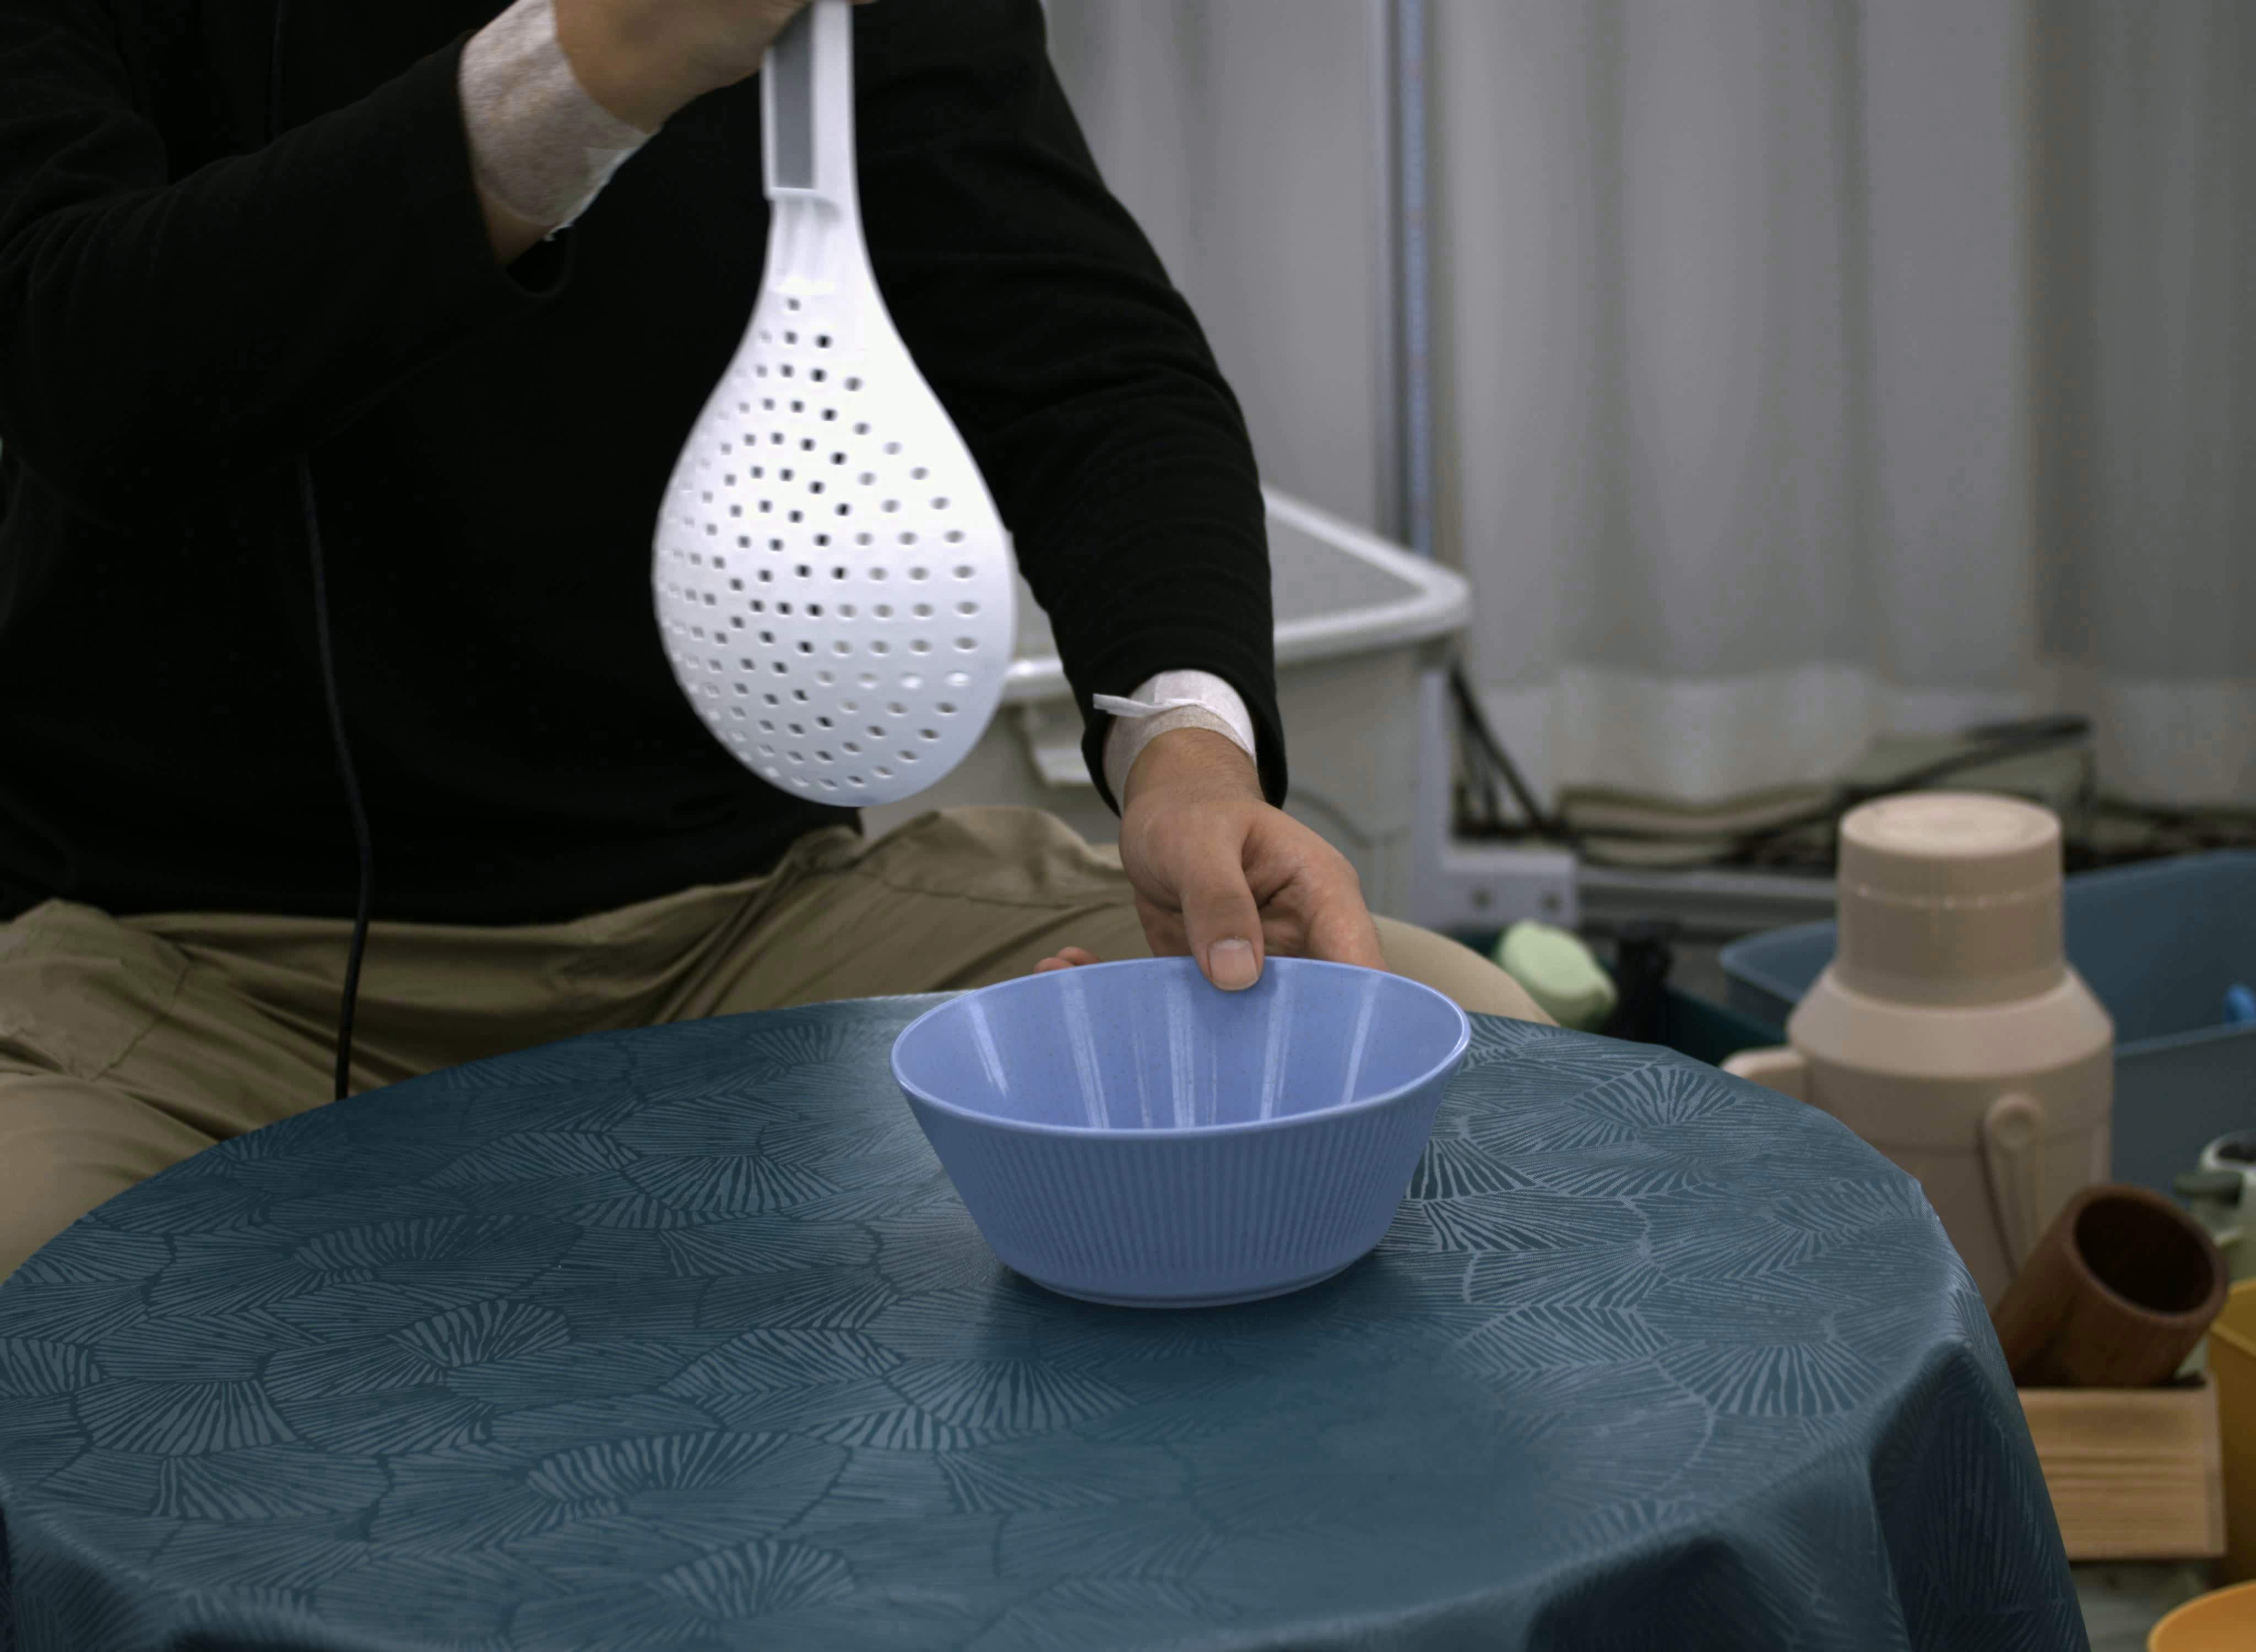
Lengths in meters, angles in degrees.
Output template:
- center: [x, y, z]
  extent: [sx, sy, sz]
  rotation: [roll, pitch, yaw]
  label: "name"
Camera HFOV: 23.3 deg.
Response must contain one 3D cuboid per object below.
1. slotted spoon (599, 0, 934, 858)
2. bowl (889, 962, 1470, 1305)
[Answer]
- center: [-0.118, -0.164, 1.638]
  extent: [0.136, 0.350, 0.045]
  rotation: [3, 4, 41]
  label: "slotted spoon"
- center: [0.017, 0.095, 1.651]
  extent: [0.175, 0.070, 0.177]
  rotation: [-4, 14, 1]
  label: "bowl"
